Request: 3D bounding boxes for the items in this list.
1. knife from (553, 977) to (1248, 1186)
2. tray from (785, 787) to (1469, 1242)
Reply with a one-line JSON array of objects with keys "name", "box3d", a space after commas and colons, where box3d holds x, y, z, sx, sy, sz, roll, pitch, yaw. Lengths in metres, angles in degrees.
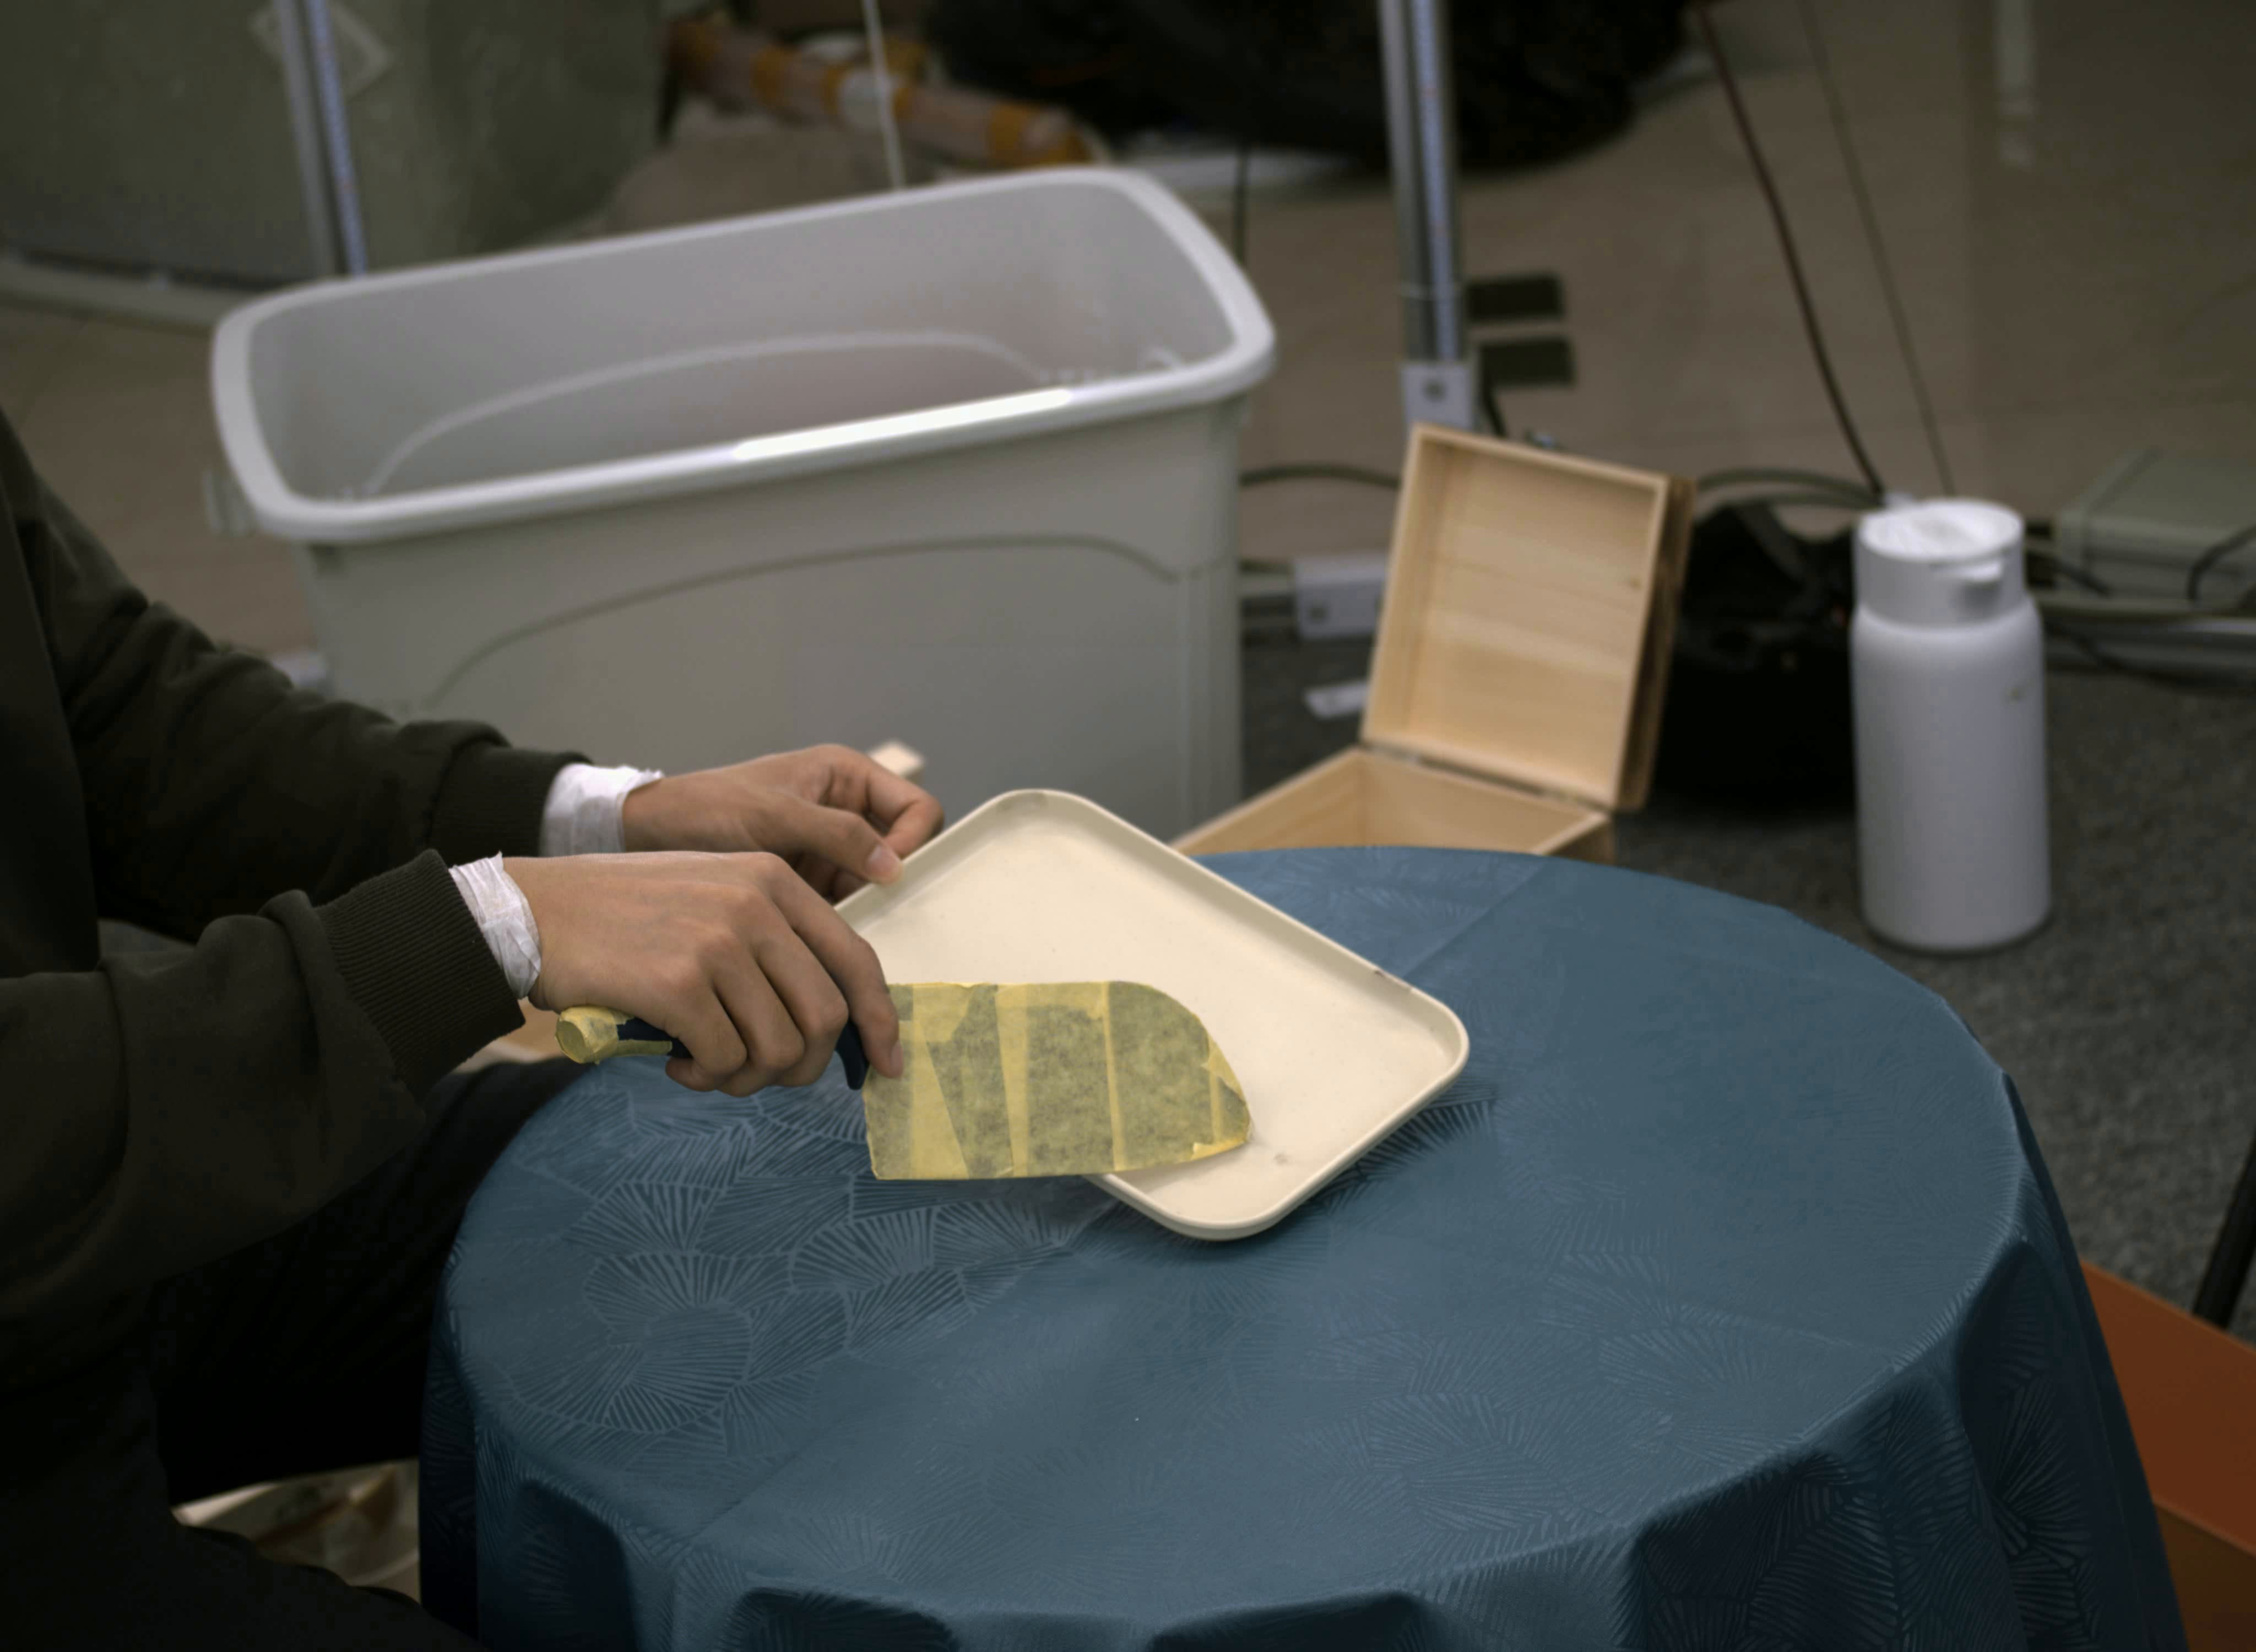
[{"name": "knife", "box3d": [-0.077, 0.092, 2.073, 0.289, 0.080, 0.027, 3, -13, -31]}, {"name": "tray", "box3d": [-0.001, 0.072, 2.194, 0.237, 0.018, 0.169, 30, 46, 27]}]
